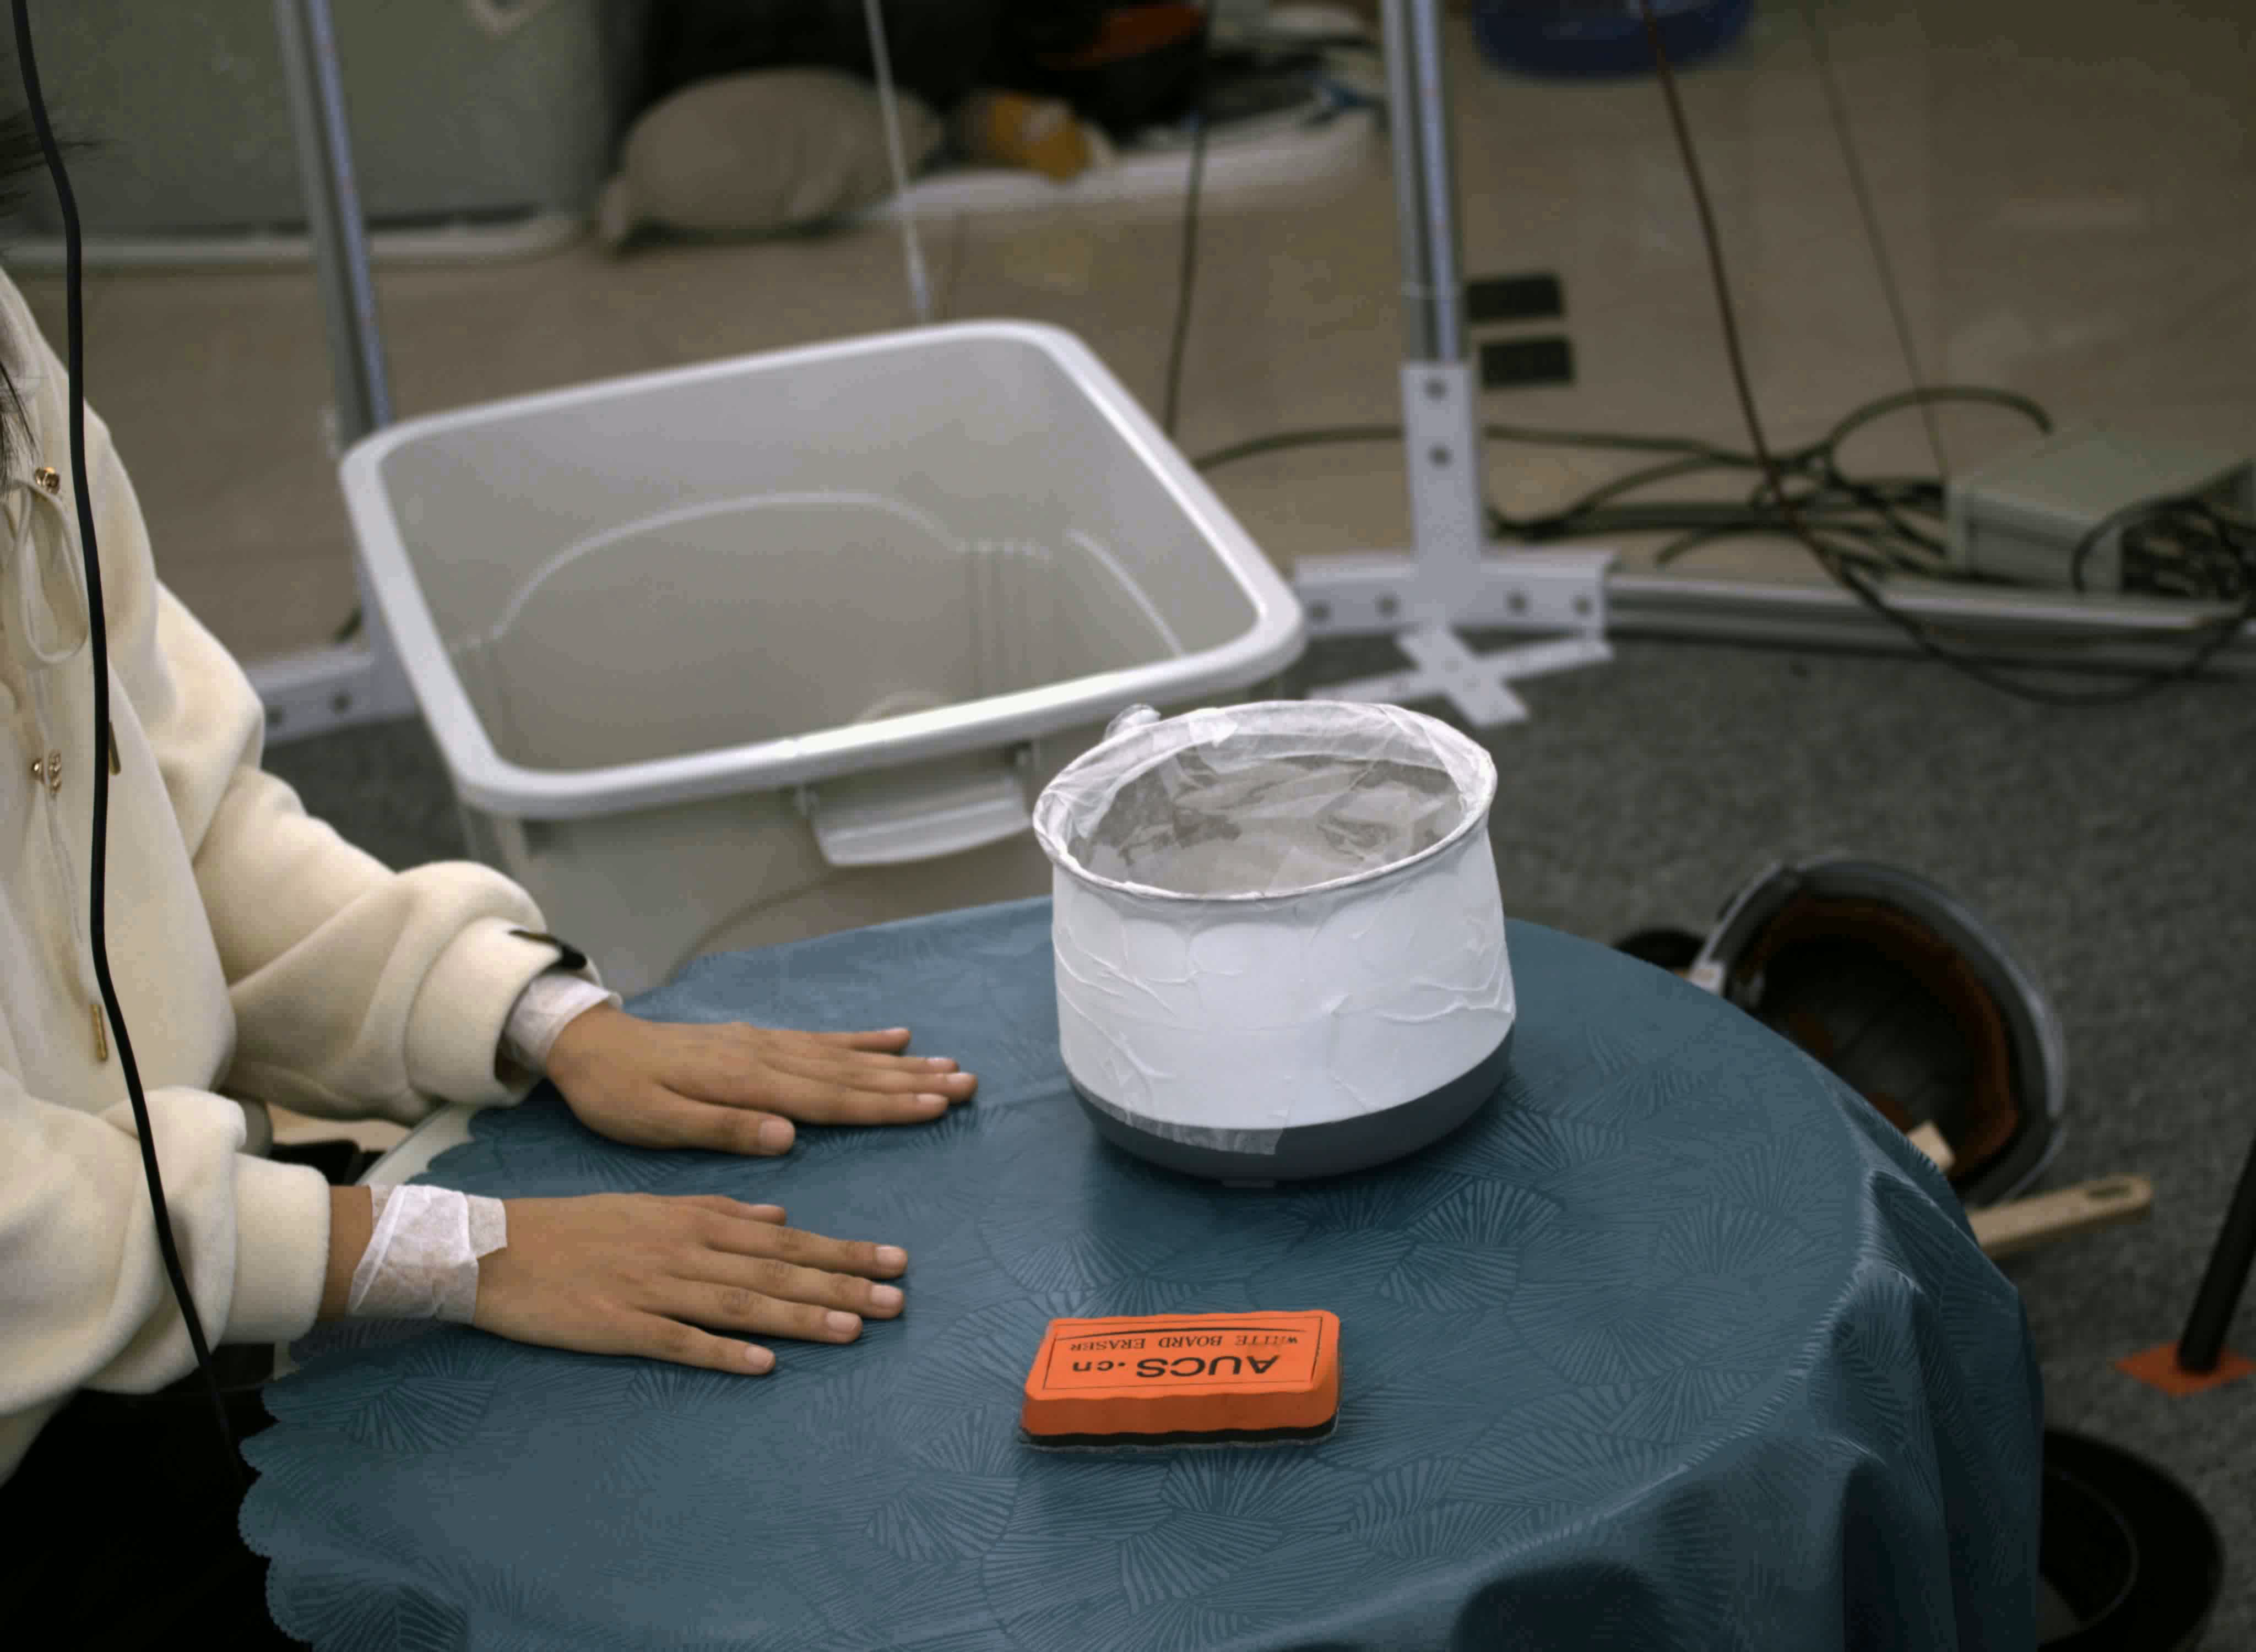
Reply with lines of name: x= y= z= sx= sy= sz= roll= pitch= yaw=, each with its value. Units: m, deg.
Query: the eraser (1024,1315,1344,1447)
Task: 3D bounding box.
eraser: x=0.020 y=0.195 z=1.995 sx=0.108 sy=0.023 sz=0.058 roll=-2 pitch=23 yaw=10

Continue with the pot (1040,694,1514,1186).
pot: x=0.044 y=0.035 z=2.189 sx=0.178 sy=0.139 sz=0.231 roll=-18 pitch=29 yaw=-26
